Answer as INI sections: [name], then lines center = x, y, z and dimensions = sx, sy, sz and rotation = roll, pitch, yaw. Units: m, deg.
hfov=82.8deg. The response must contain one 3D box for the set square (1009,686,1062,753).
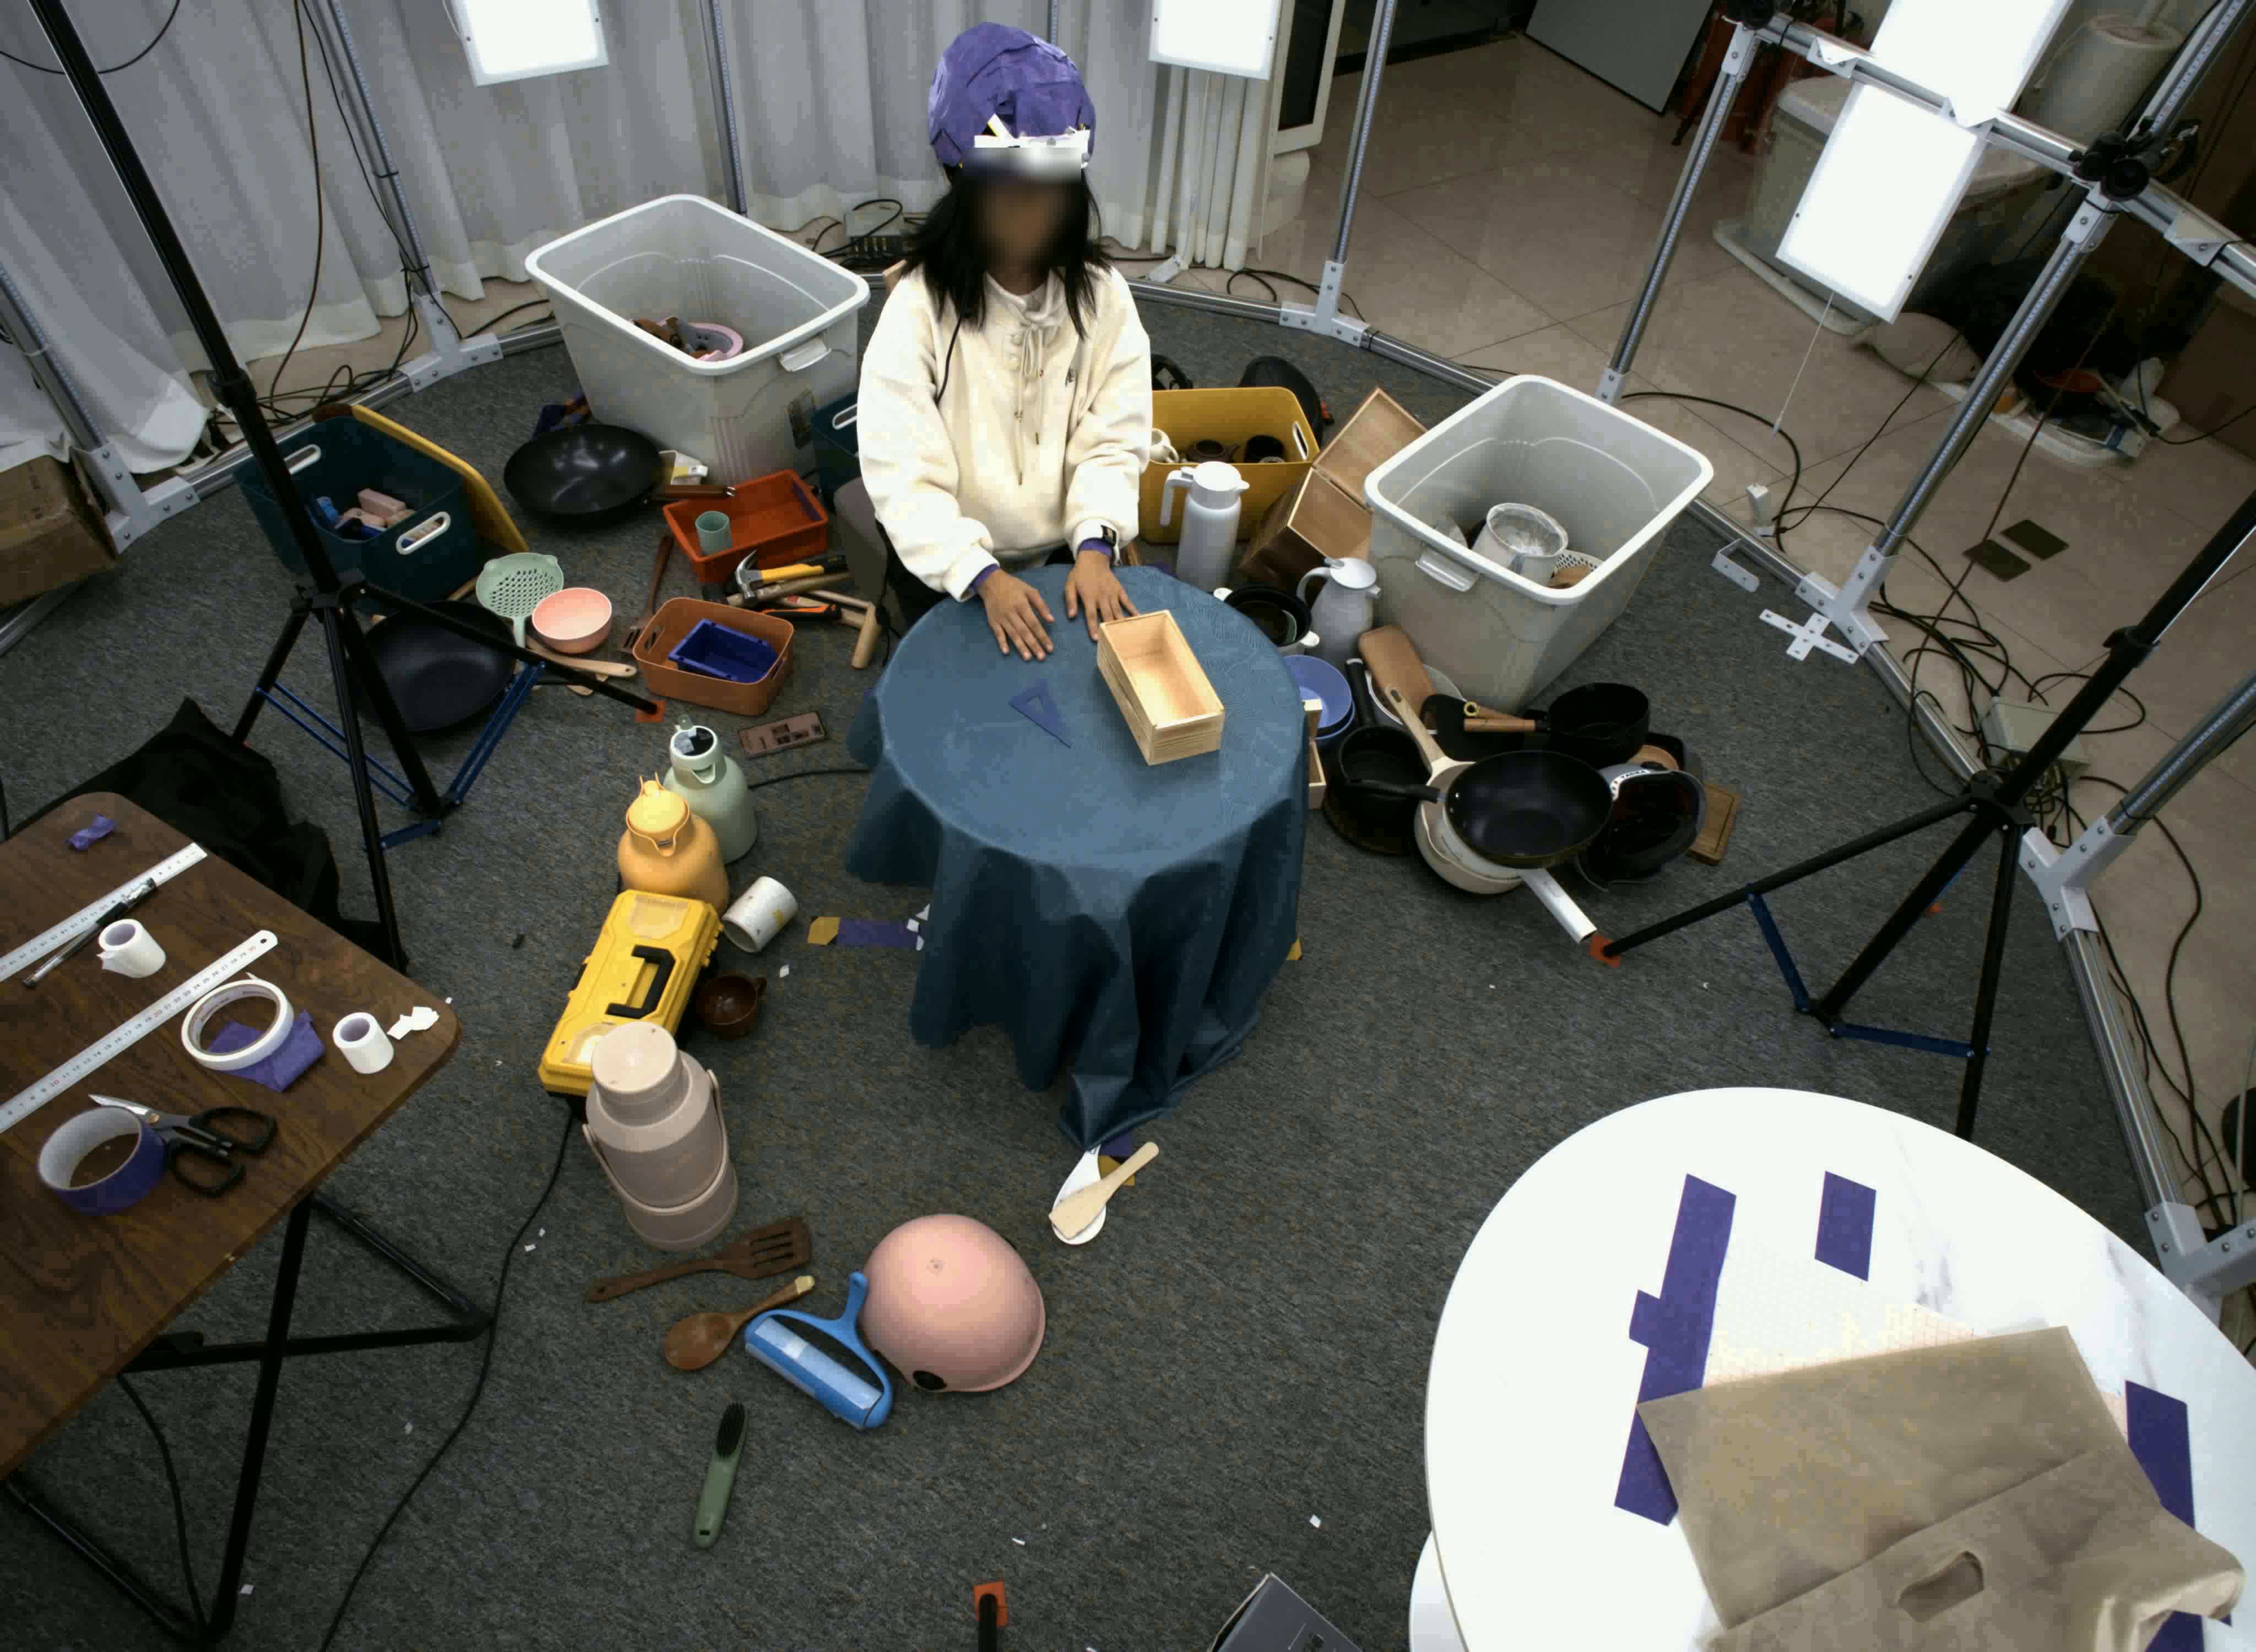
[set square]
center = -0.130, -0.148, 1.787
dimensions = 0.061, 0.006, 0.135
rotation = -7, 50, -11

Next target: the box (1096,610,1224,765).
[box]
center = 0.041, -0.197, 1.792
dimensions = 0.107, 0.078, 0.216
rotation = -13, 52, -16
